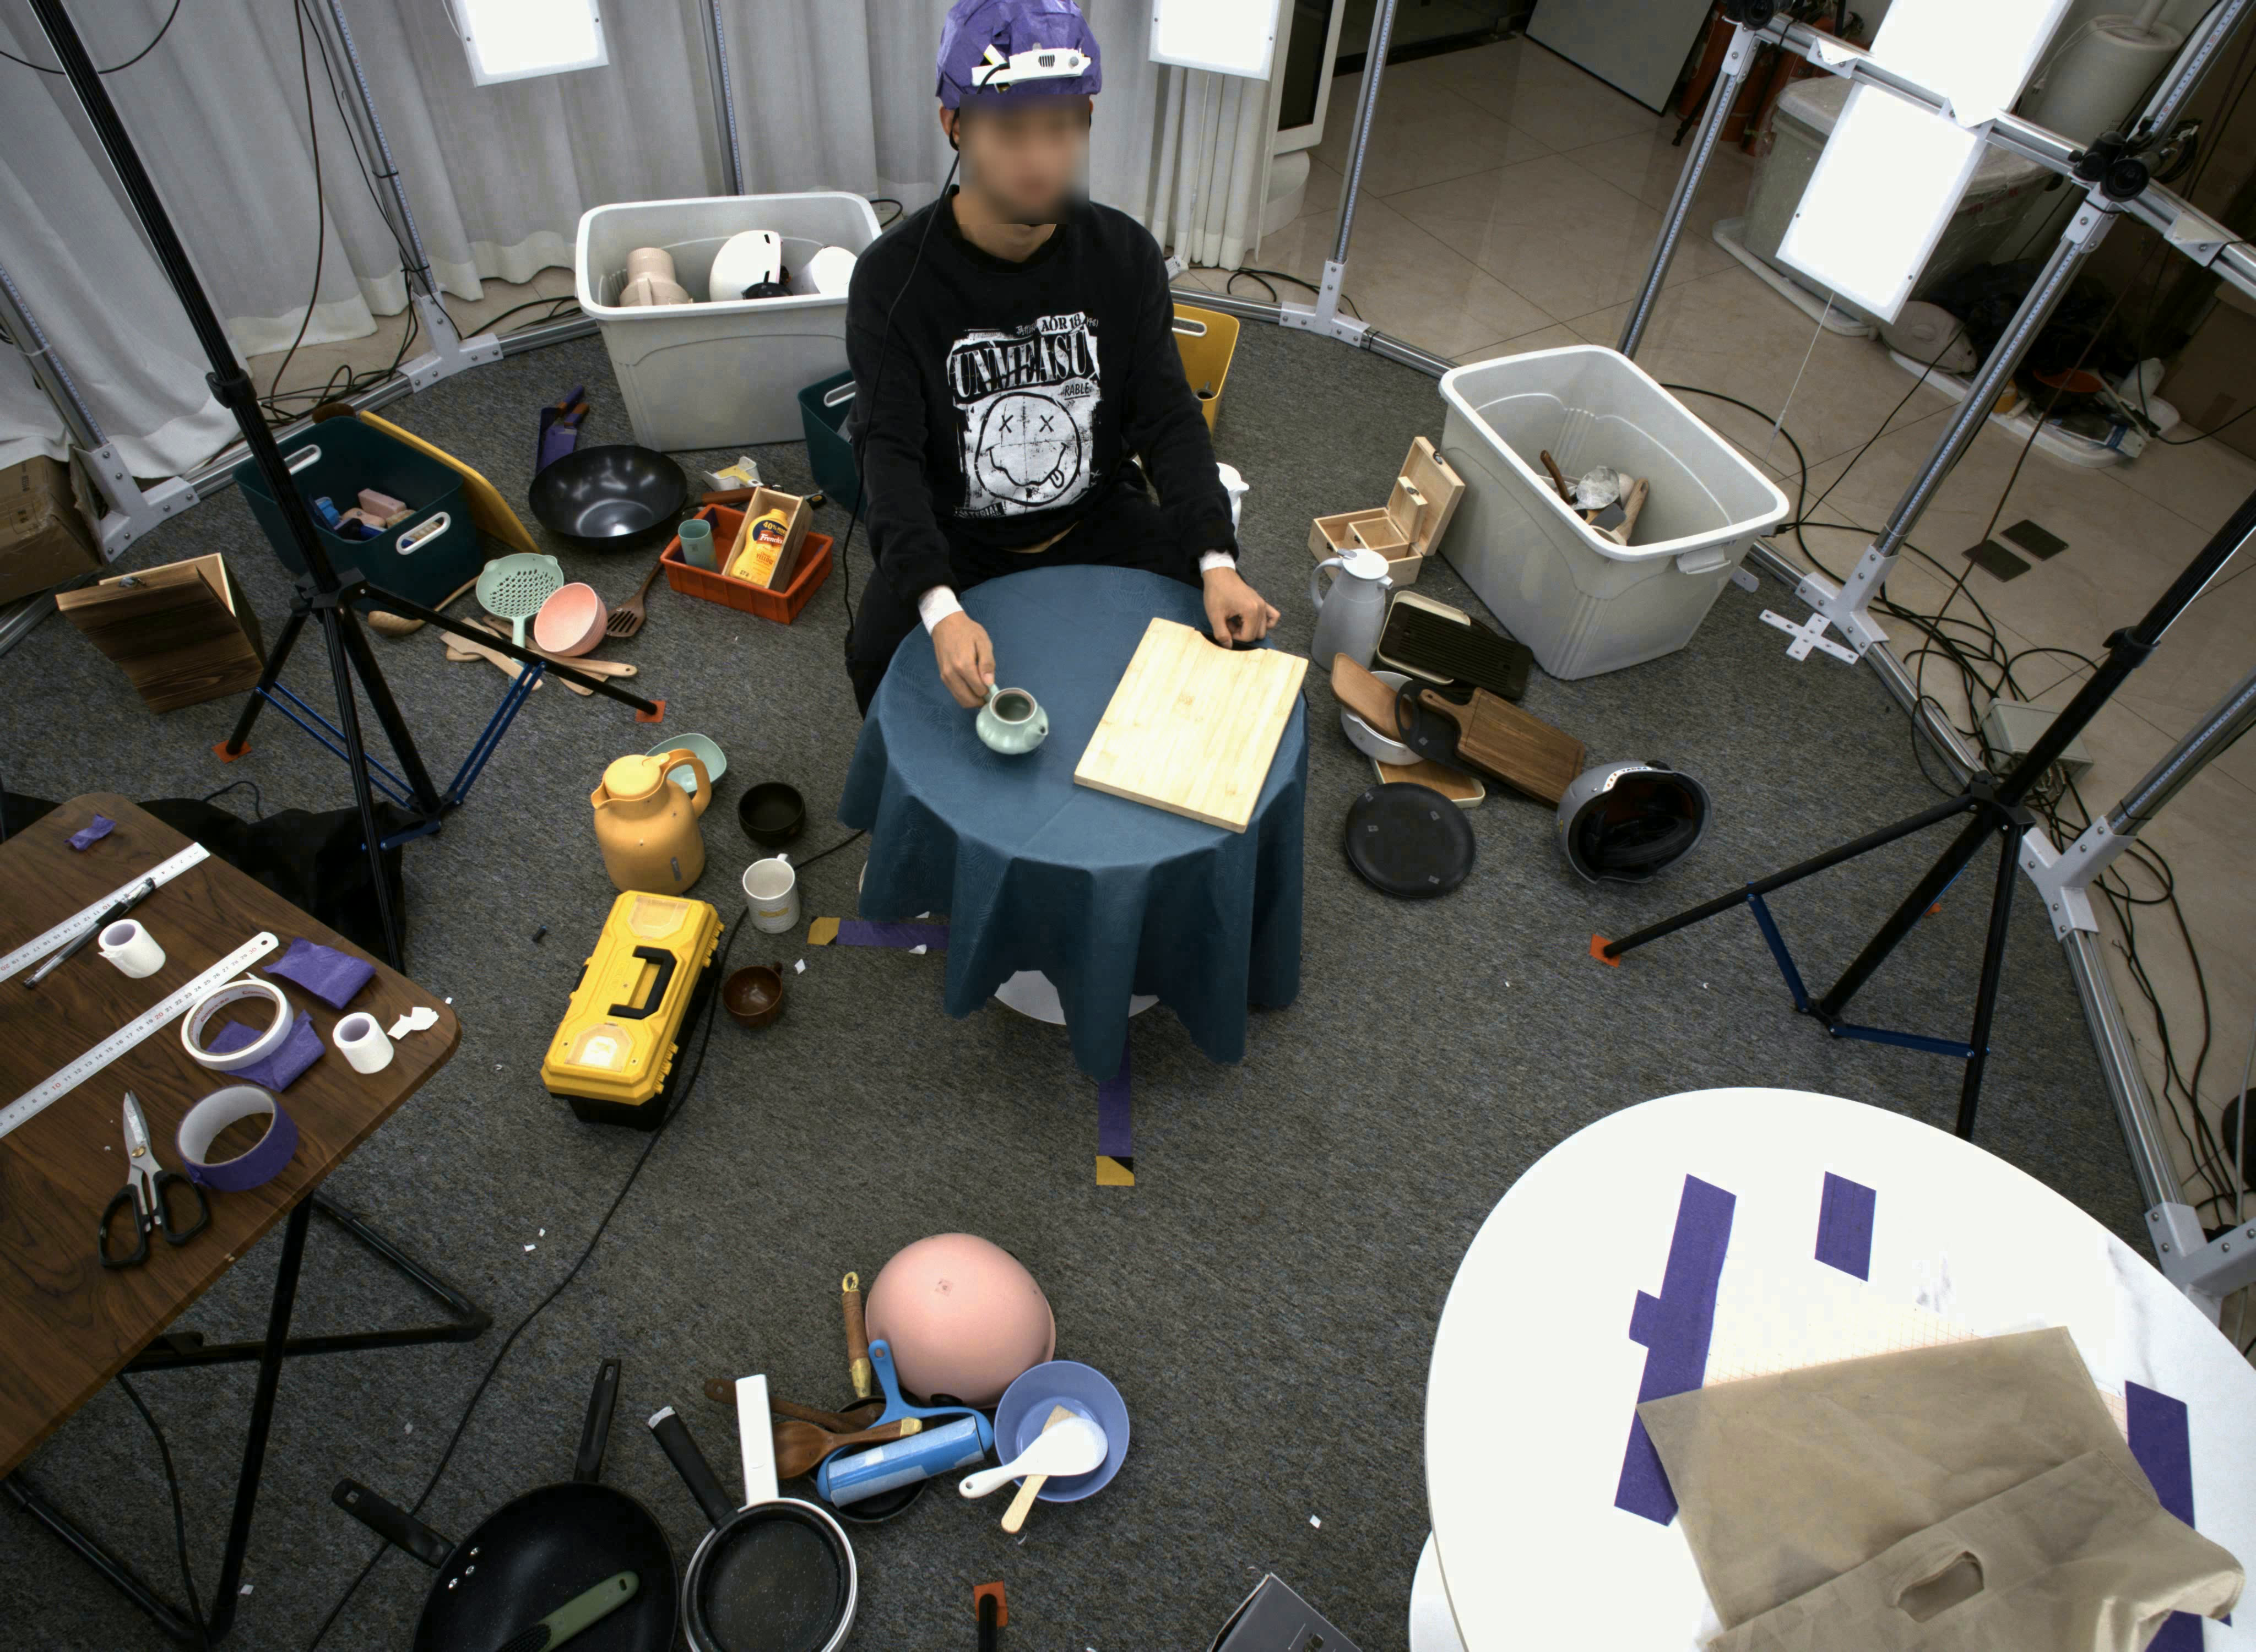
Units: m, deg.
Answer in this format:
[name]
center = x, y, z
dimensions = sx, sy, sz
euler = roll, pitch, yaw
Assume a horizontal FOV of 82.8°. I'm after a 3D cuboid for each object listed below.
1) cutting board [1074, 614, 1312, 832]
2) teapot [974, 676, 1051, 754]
[cutting board]
center = 0.097, -0.154, 1.797
dimensions = 0.251, 0.023, 0.356
euler = 16, 50, 10
[teapot]
center = -0.156, -0.148, 1.714
dimensions = 0.138, 0.060, 0.097
euler = 40, 61, 20
